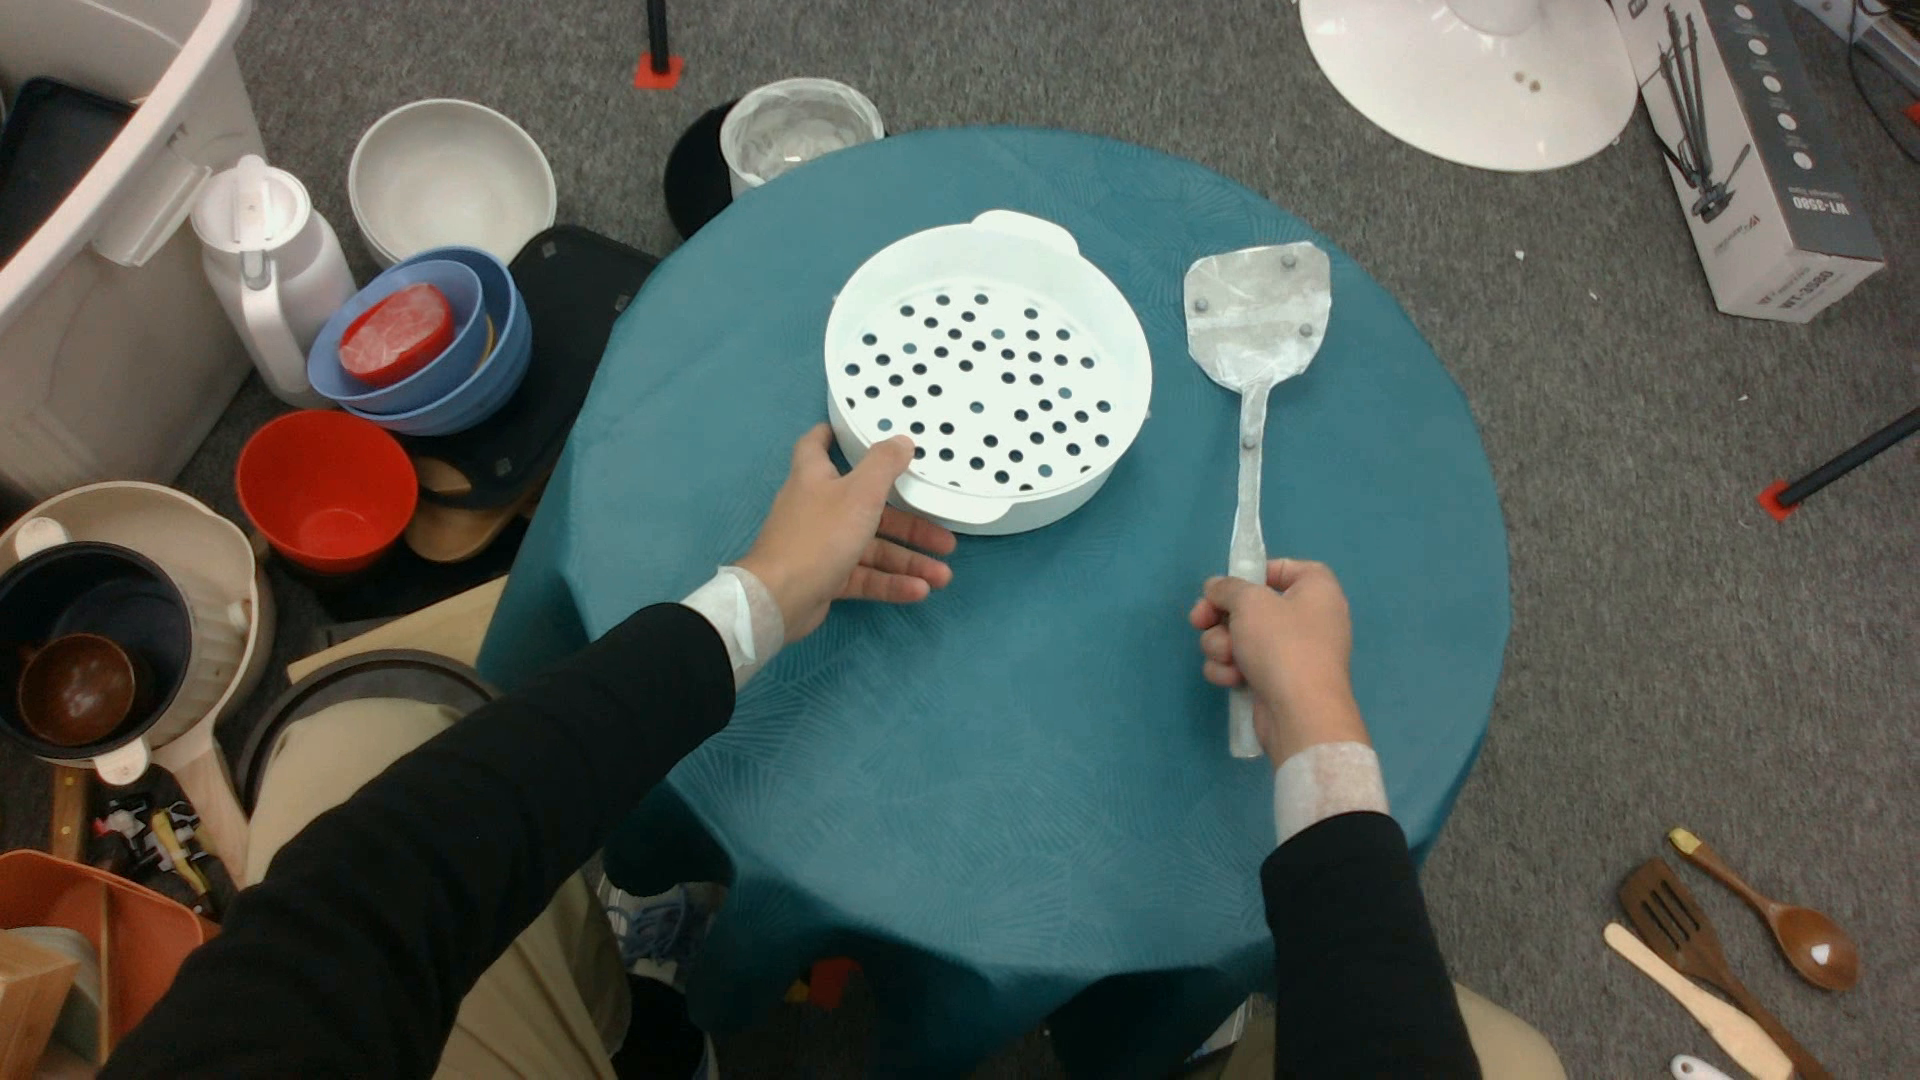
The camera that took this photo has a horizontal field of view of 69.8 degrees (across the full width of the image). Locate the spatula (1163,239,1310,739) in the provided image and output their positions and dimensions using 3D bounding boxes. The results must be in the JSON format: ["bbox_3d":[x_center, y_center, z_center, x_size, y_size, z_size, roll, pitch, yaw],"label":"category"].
[{"bbox_3d":[0.166,-0.047,0.850,0.098,0.044,0.366,0,53,14],"label":"spatula"}]

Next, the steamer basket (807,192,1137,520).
[{"bbox_3d":[0.005,-0.109,0.860,0.202,0.069,0.231,16,63,0],"label":"steamer basket"}]
